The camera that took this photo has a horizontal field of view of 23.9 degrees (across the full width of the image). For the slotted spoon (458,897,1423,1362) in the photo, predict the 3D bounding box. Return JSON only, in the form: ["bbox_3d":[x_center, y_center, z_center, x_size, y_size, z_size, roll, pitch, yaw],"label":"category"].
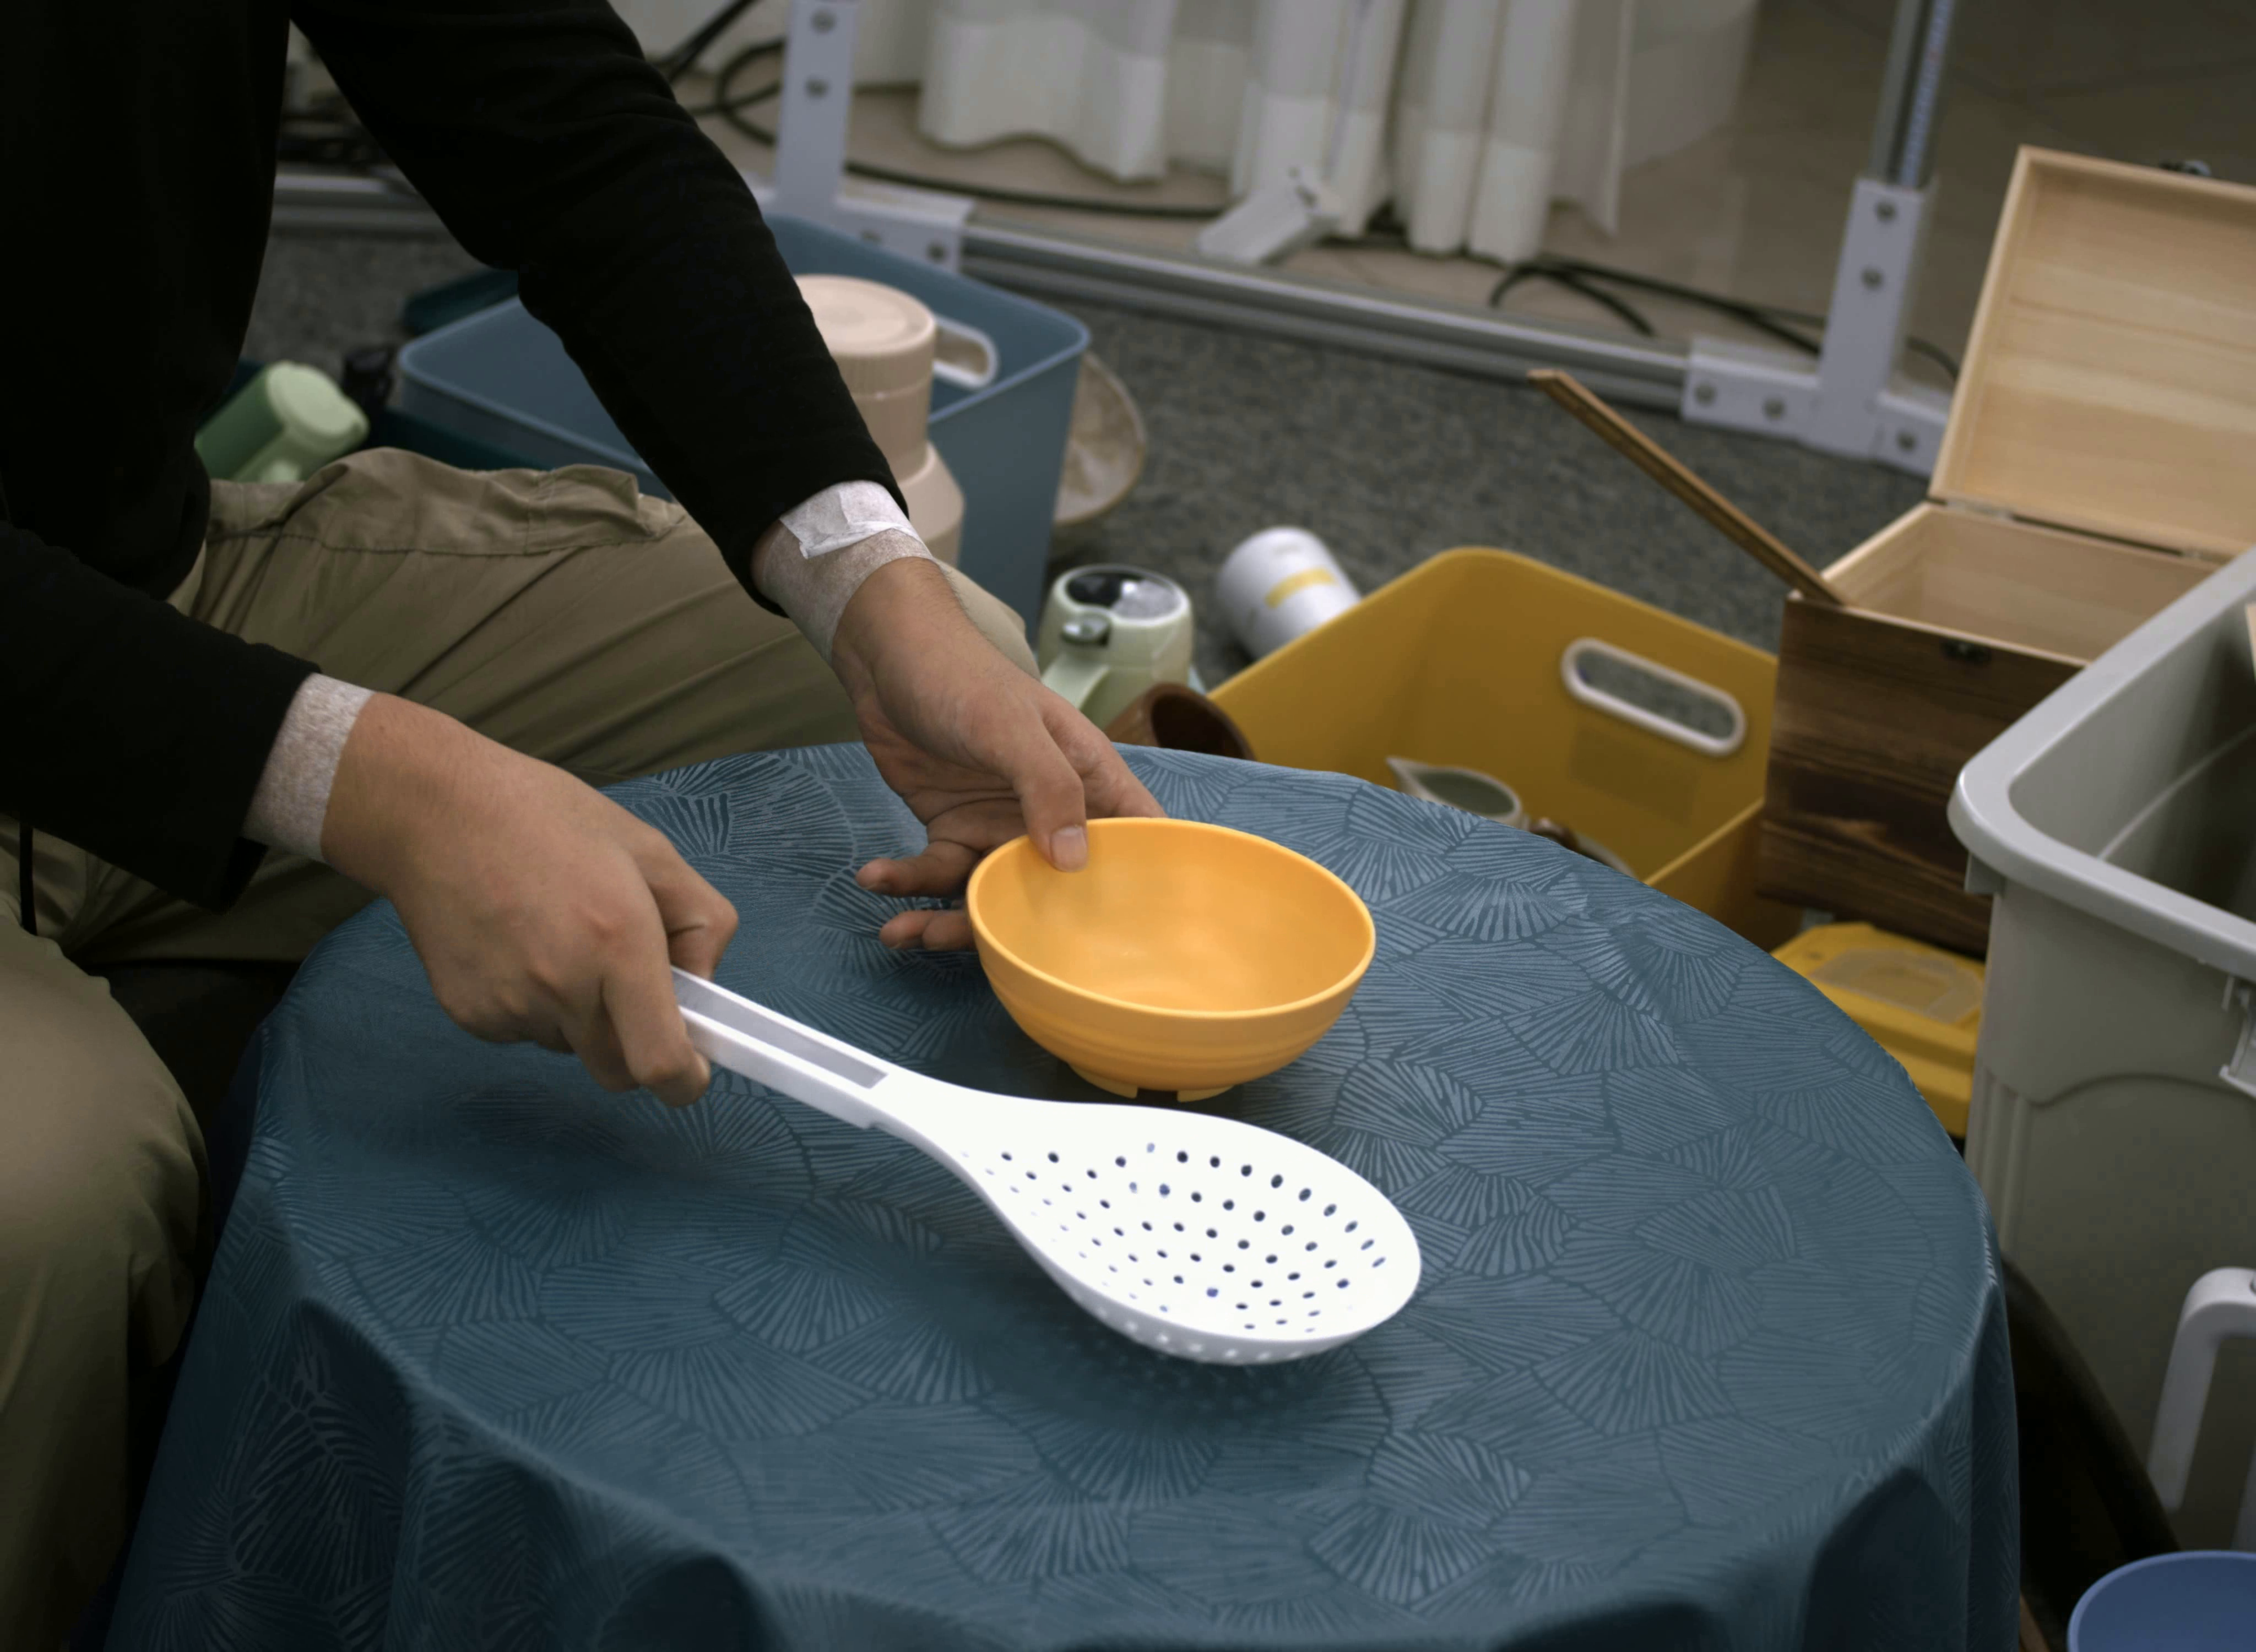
[{"bbox_3d":[-0.068,0.095,1.749,0.351,0.045,0.136,26,27,16],"label":"slotted spoon"}]

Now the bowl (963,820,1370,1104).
[{"bbox_3d":[0.010,0.057,1.874,0.145,0.060,0.146,7,26,-4],"label":"bowl"}]
